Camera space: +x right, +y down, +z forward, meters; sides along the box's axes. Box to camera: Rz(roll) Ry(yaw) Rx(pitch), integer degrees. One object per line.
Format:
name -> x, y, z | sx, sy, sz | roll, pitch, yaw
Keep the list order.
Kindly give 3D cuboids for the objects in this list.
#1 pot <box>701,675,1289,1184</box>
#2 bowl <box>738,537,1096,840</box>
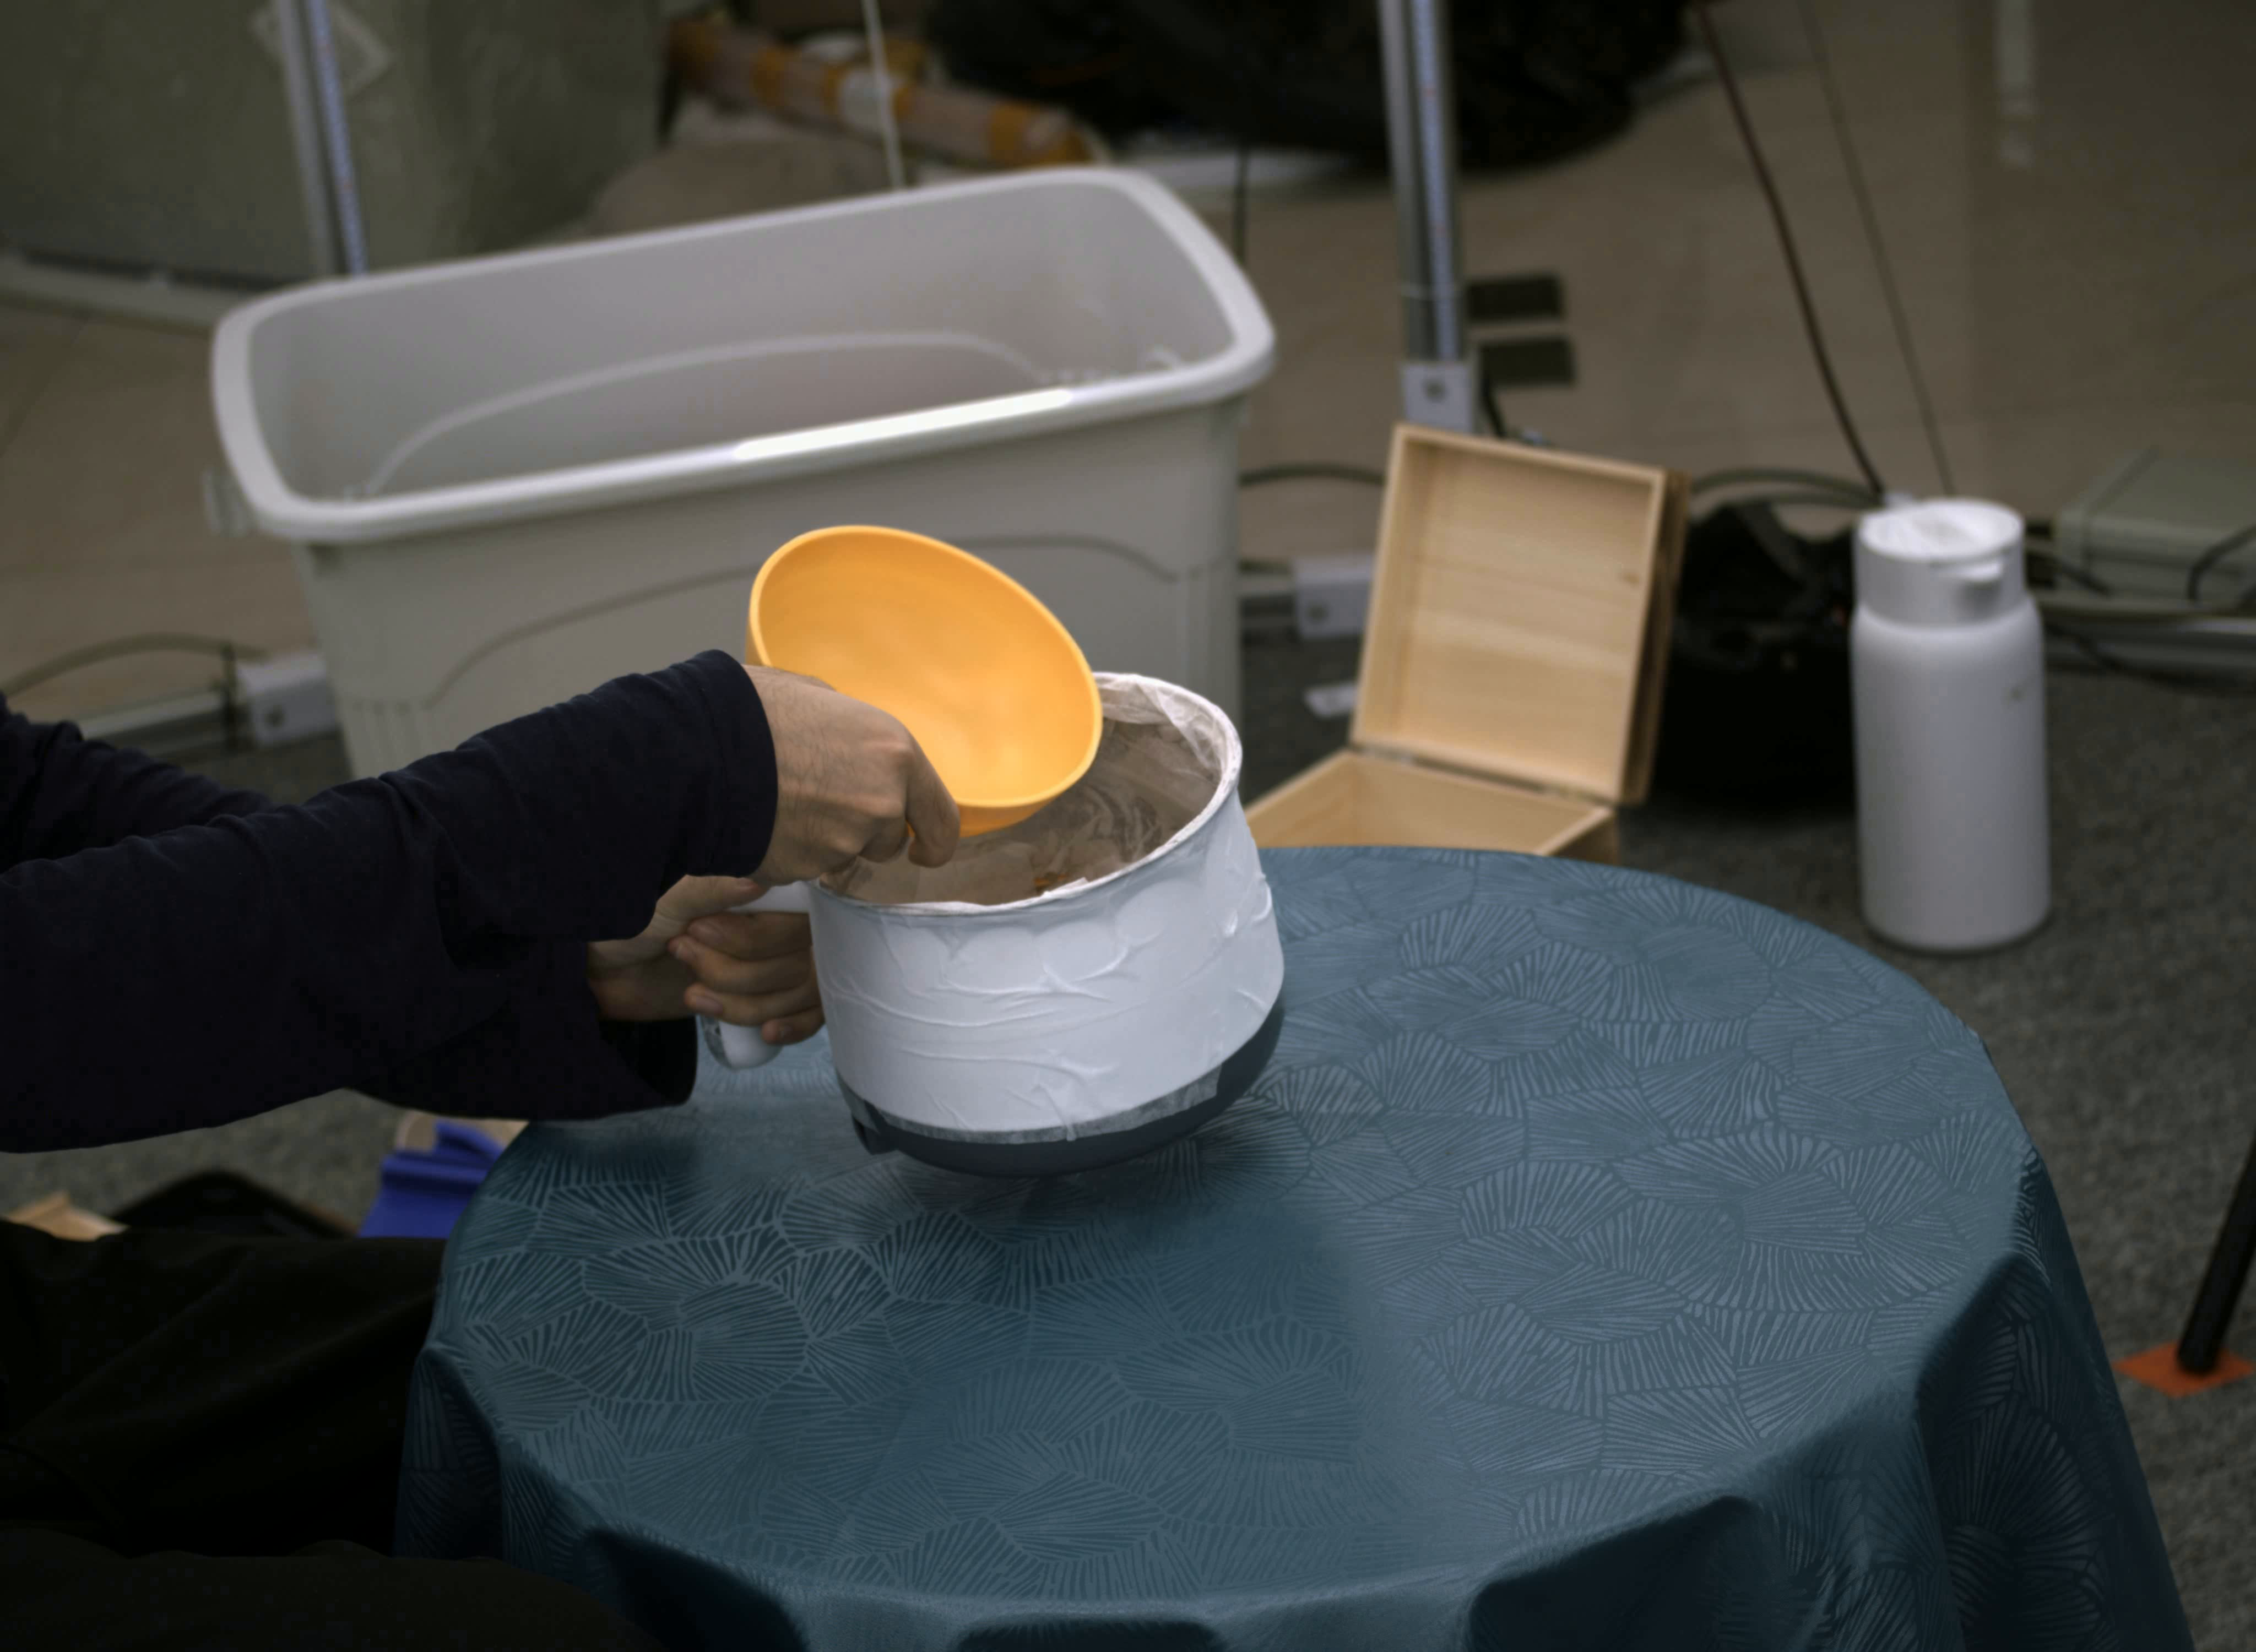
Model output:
pot -> -0.058, 0.044, 2.166 | 0.233, 0.139, 0.176 | -4, 31, 17
bowl -> -0.089, -0.041, 2.142 | 0.145, 0.061, 0.142 | 19, 38, -16
